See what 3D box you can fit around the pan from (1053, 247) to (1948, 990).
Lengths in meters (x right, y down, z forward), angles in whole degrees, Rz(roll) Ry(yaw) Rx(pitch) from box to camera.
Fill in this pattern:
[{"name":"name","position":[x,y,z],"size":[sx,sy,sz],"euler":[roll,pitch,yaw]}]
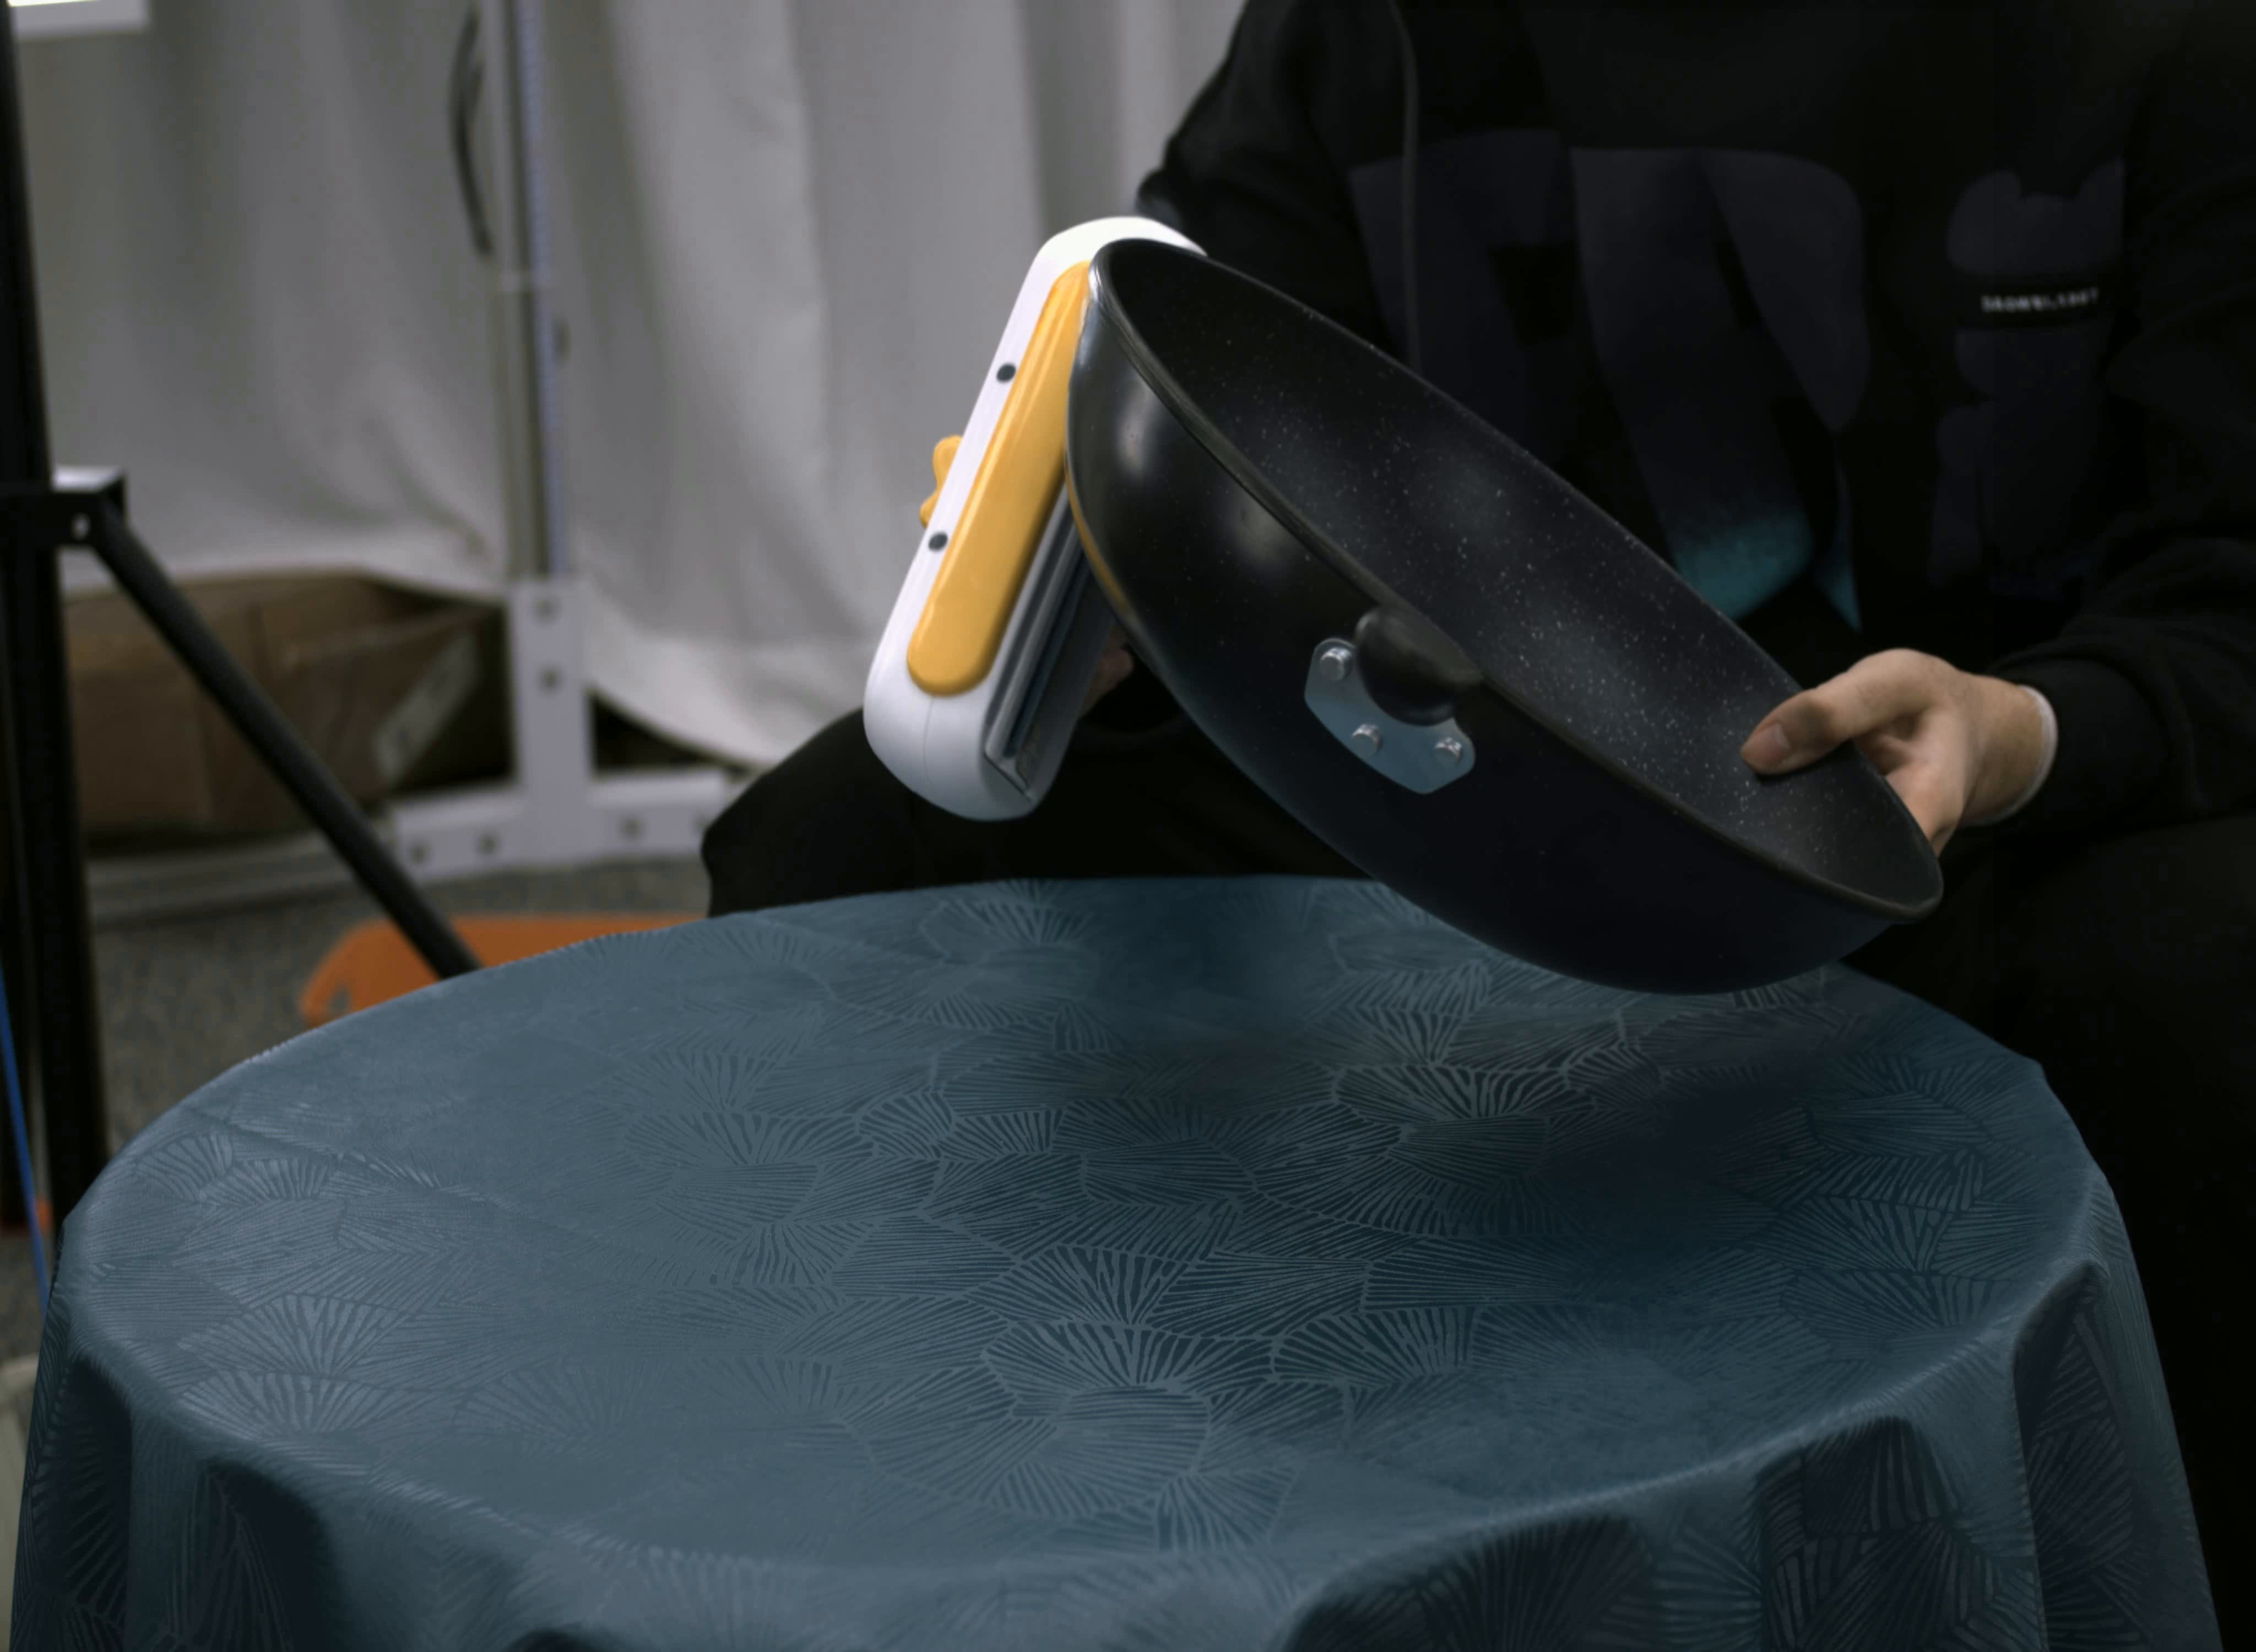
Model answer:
[{"name":"pan","position":[0.082,-0.039,1.472],"size":[0.311,0.112,0.473],"euler":[37,14,4]}]

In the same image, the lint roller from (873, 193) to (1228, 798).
[{"name":"lint roller","position":[-0.018,-0.082,1.688],"size":[0.075,0.193,0.189],"euler":[12,-18,16]}]
